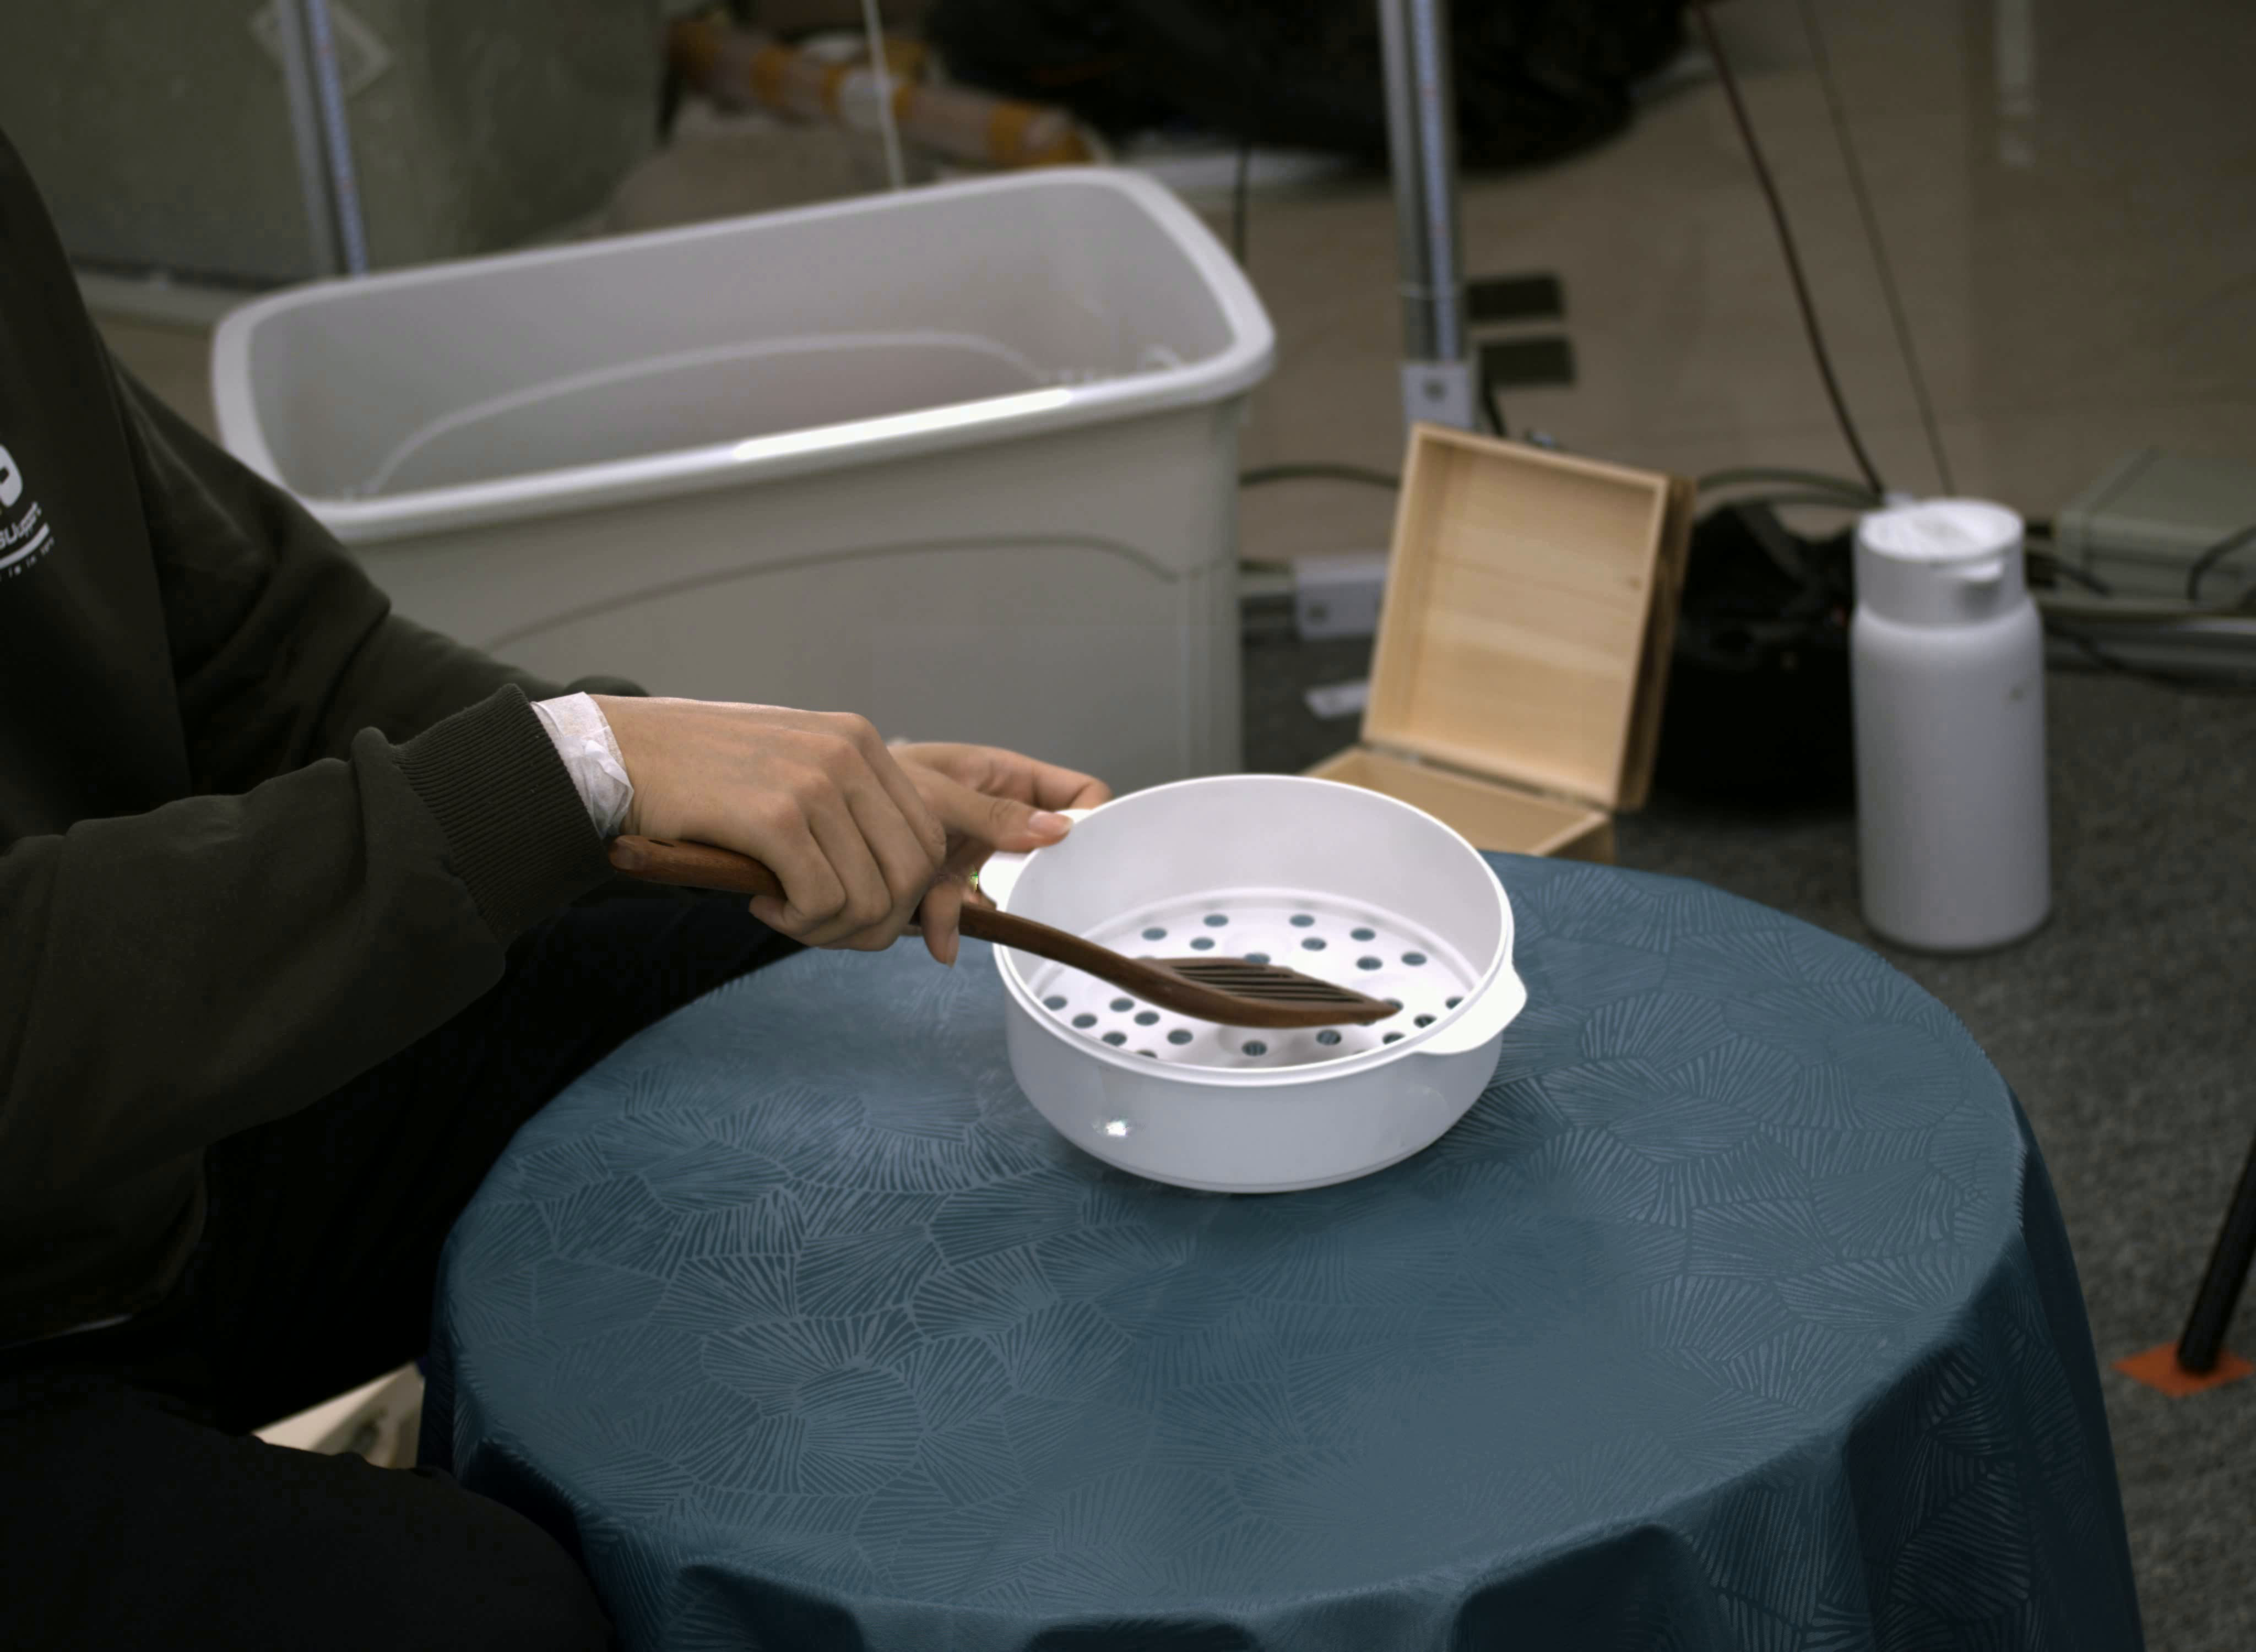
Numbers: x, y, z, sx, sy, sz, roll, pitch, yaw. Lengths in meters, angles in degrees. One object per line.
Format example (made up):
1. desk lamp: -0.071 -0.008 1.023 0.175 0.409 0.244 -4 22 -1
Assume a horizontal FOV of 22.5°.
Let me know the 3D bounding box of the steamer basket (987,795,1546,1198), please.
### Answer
1. steamer basket: 0.053 0.066 2.192 0.229 0.070 0.199 16 38 29

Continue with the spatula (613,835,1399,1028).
1. spatula: -0.045 0.040 2.049 0.085 0.024 0.387 19 3 41
